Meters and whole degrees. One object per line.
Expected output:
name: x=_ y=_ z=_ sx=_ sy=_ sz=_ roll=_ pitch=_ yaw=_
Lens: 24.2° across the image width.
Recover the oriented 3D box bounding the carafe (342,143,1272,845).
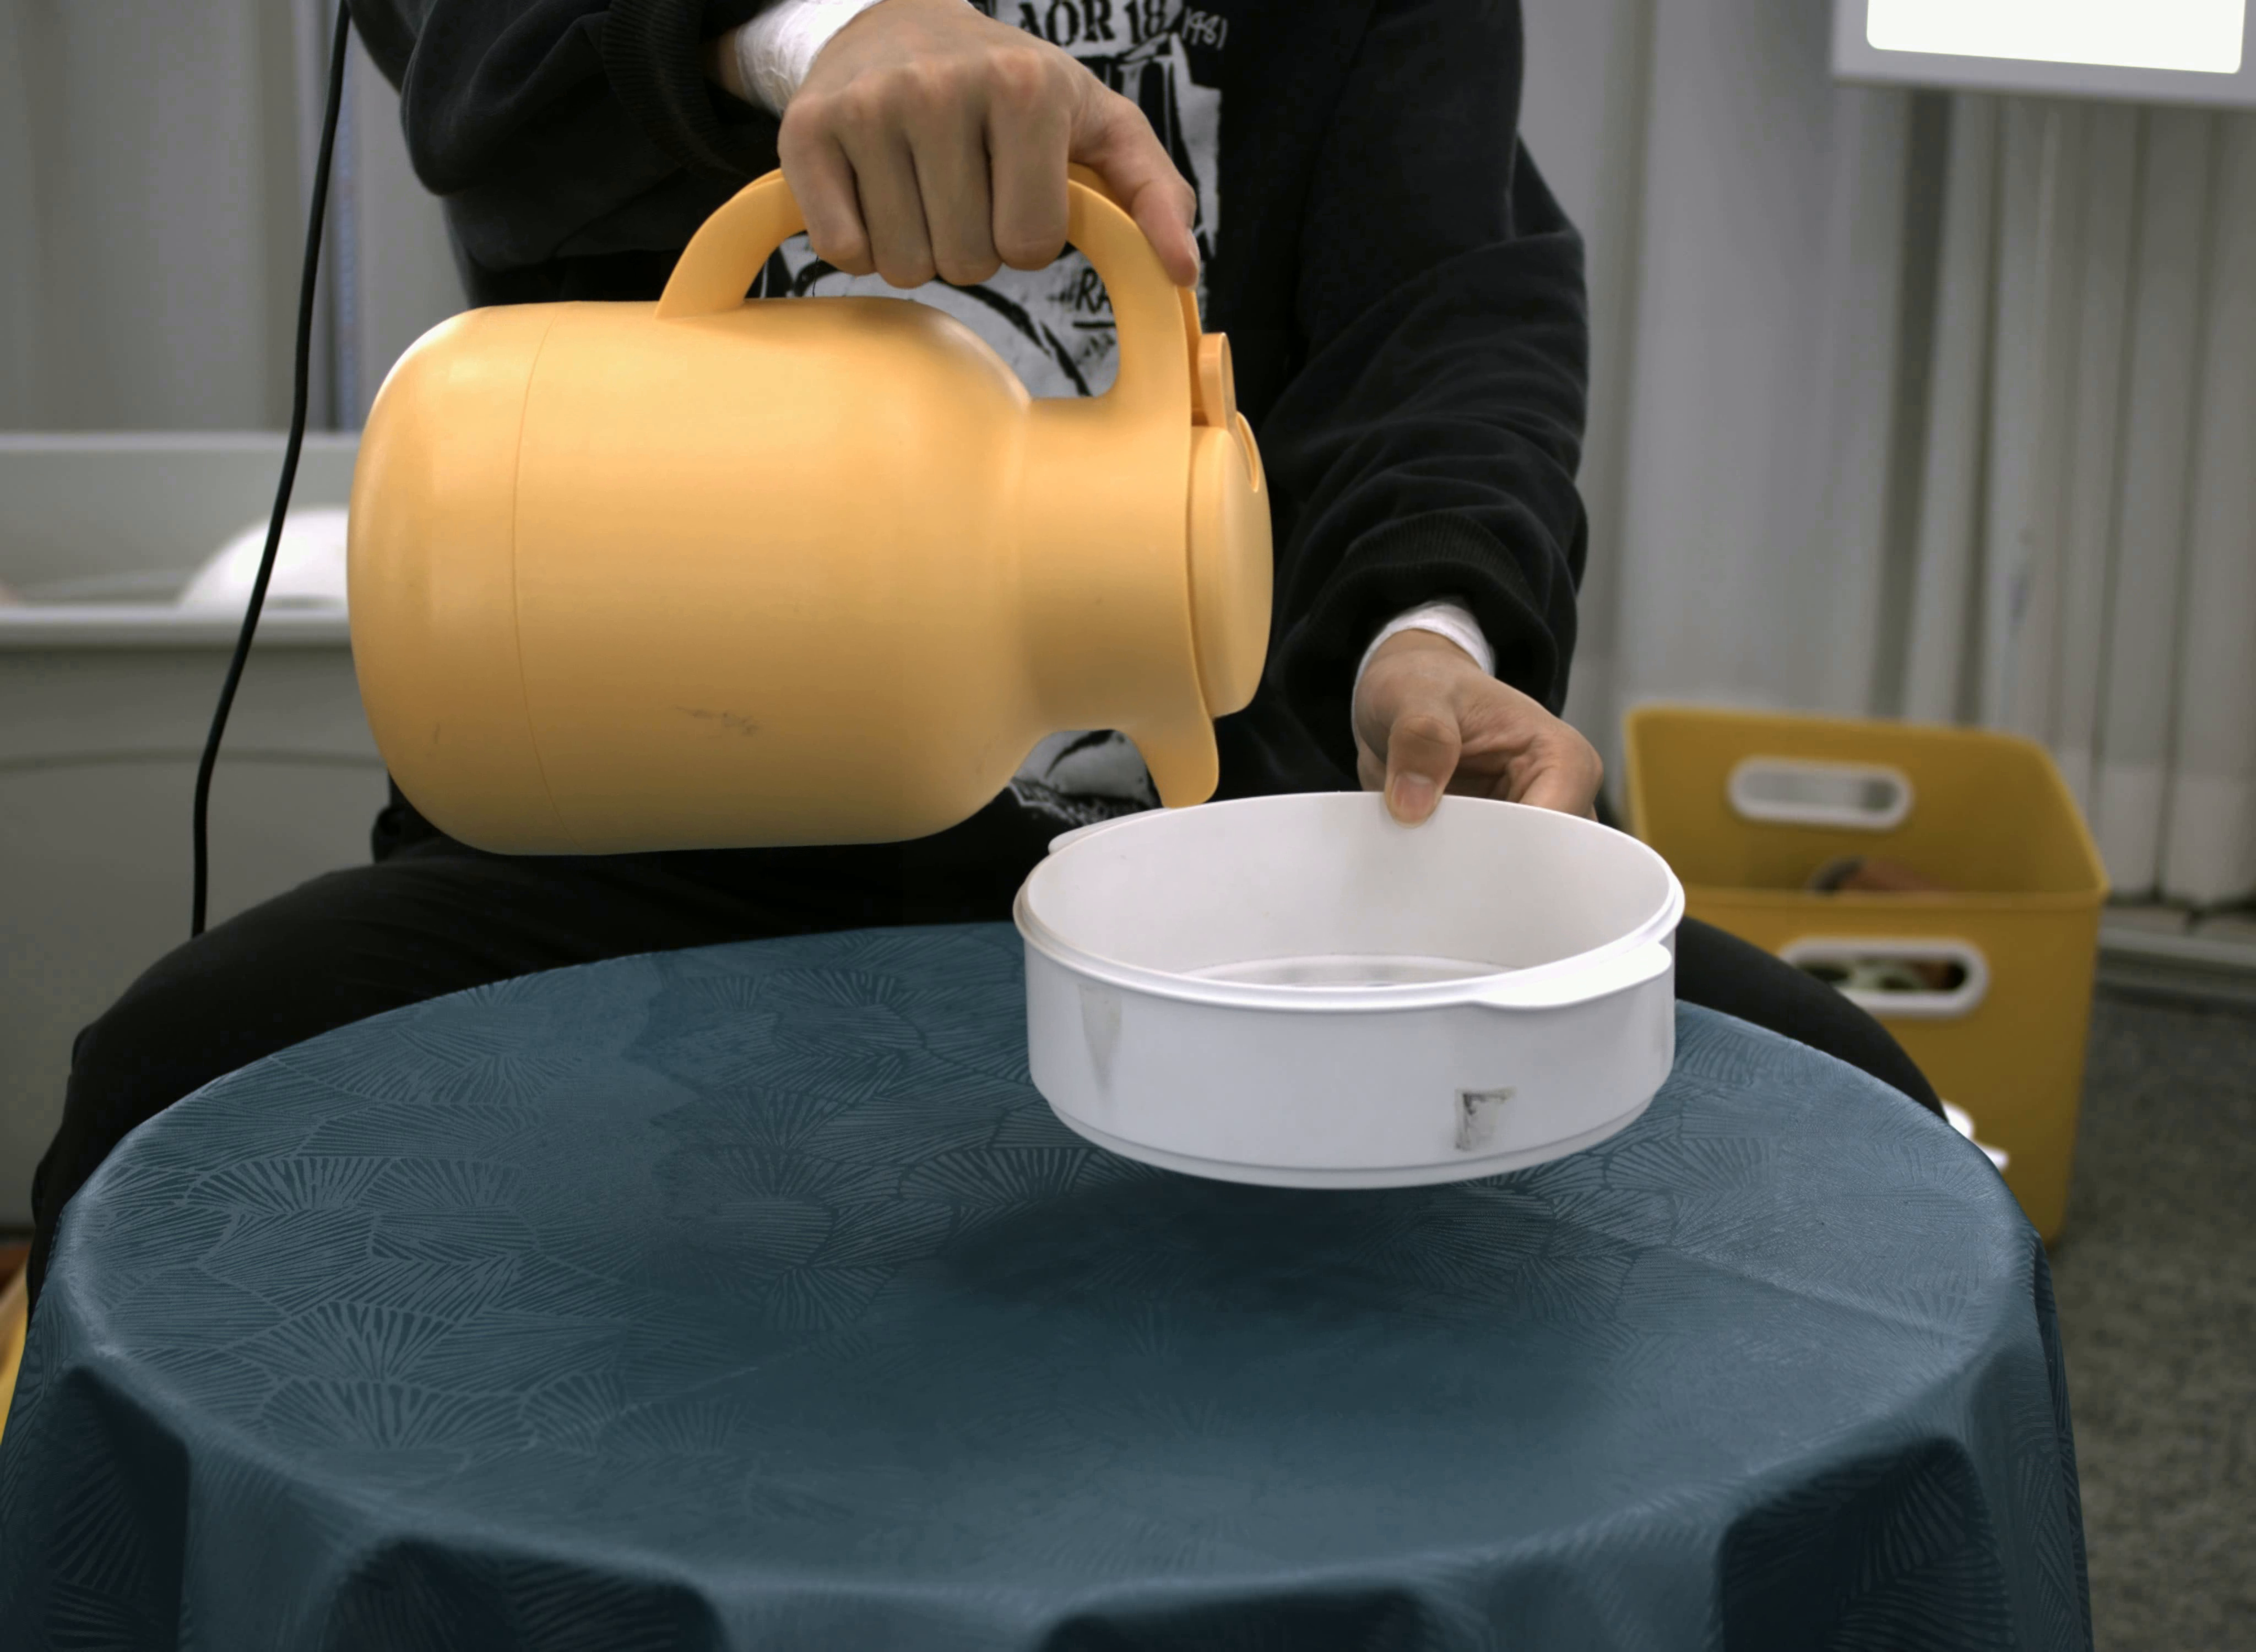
carafe: x=-0.089 y=-0.095 z=1.527 sx=0.259 sy=0.204 sz=0.163 roll=0 pitch=15 yaw=7

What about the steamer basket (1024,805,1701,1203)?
steamer basket: x=0.070 y=0.053 z=1.569 sx=0.203 sy=0.070 sz=0.227 roll=-15 pitch=22 yaw=-37
